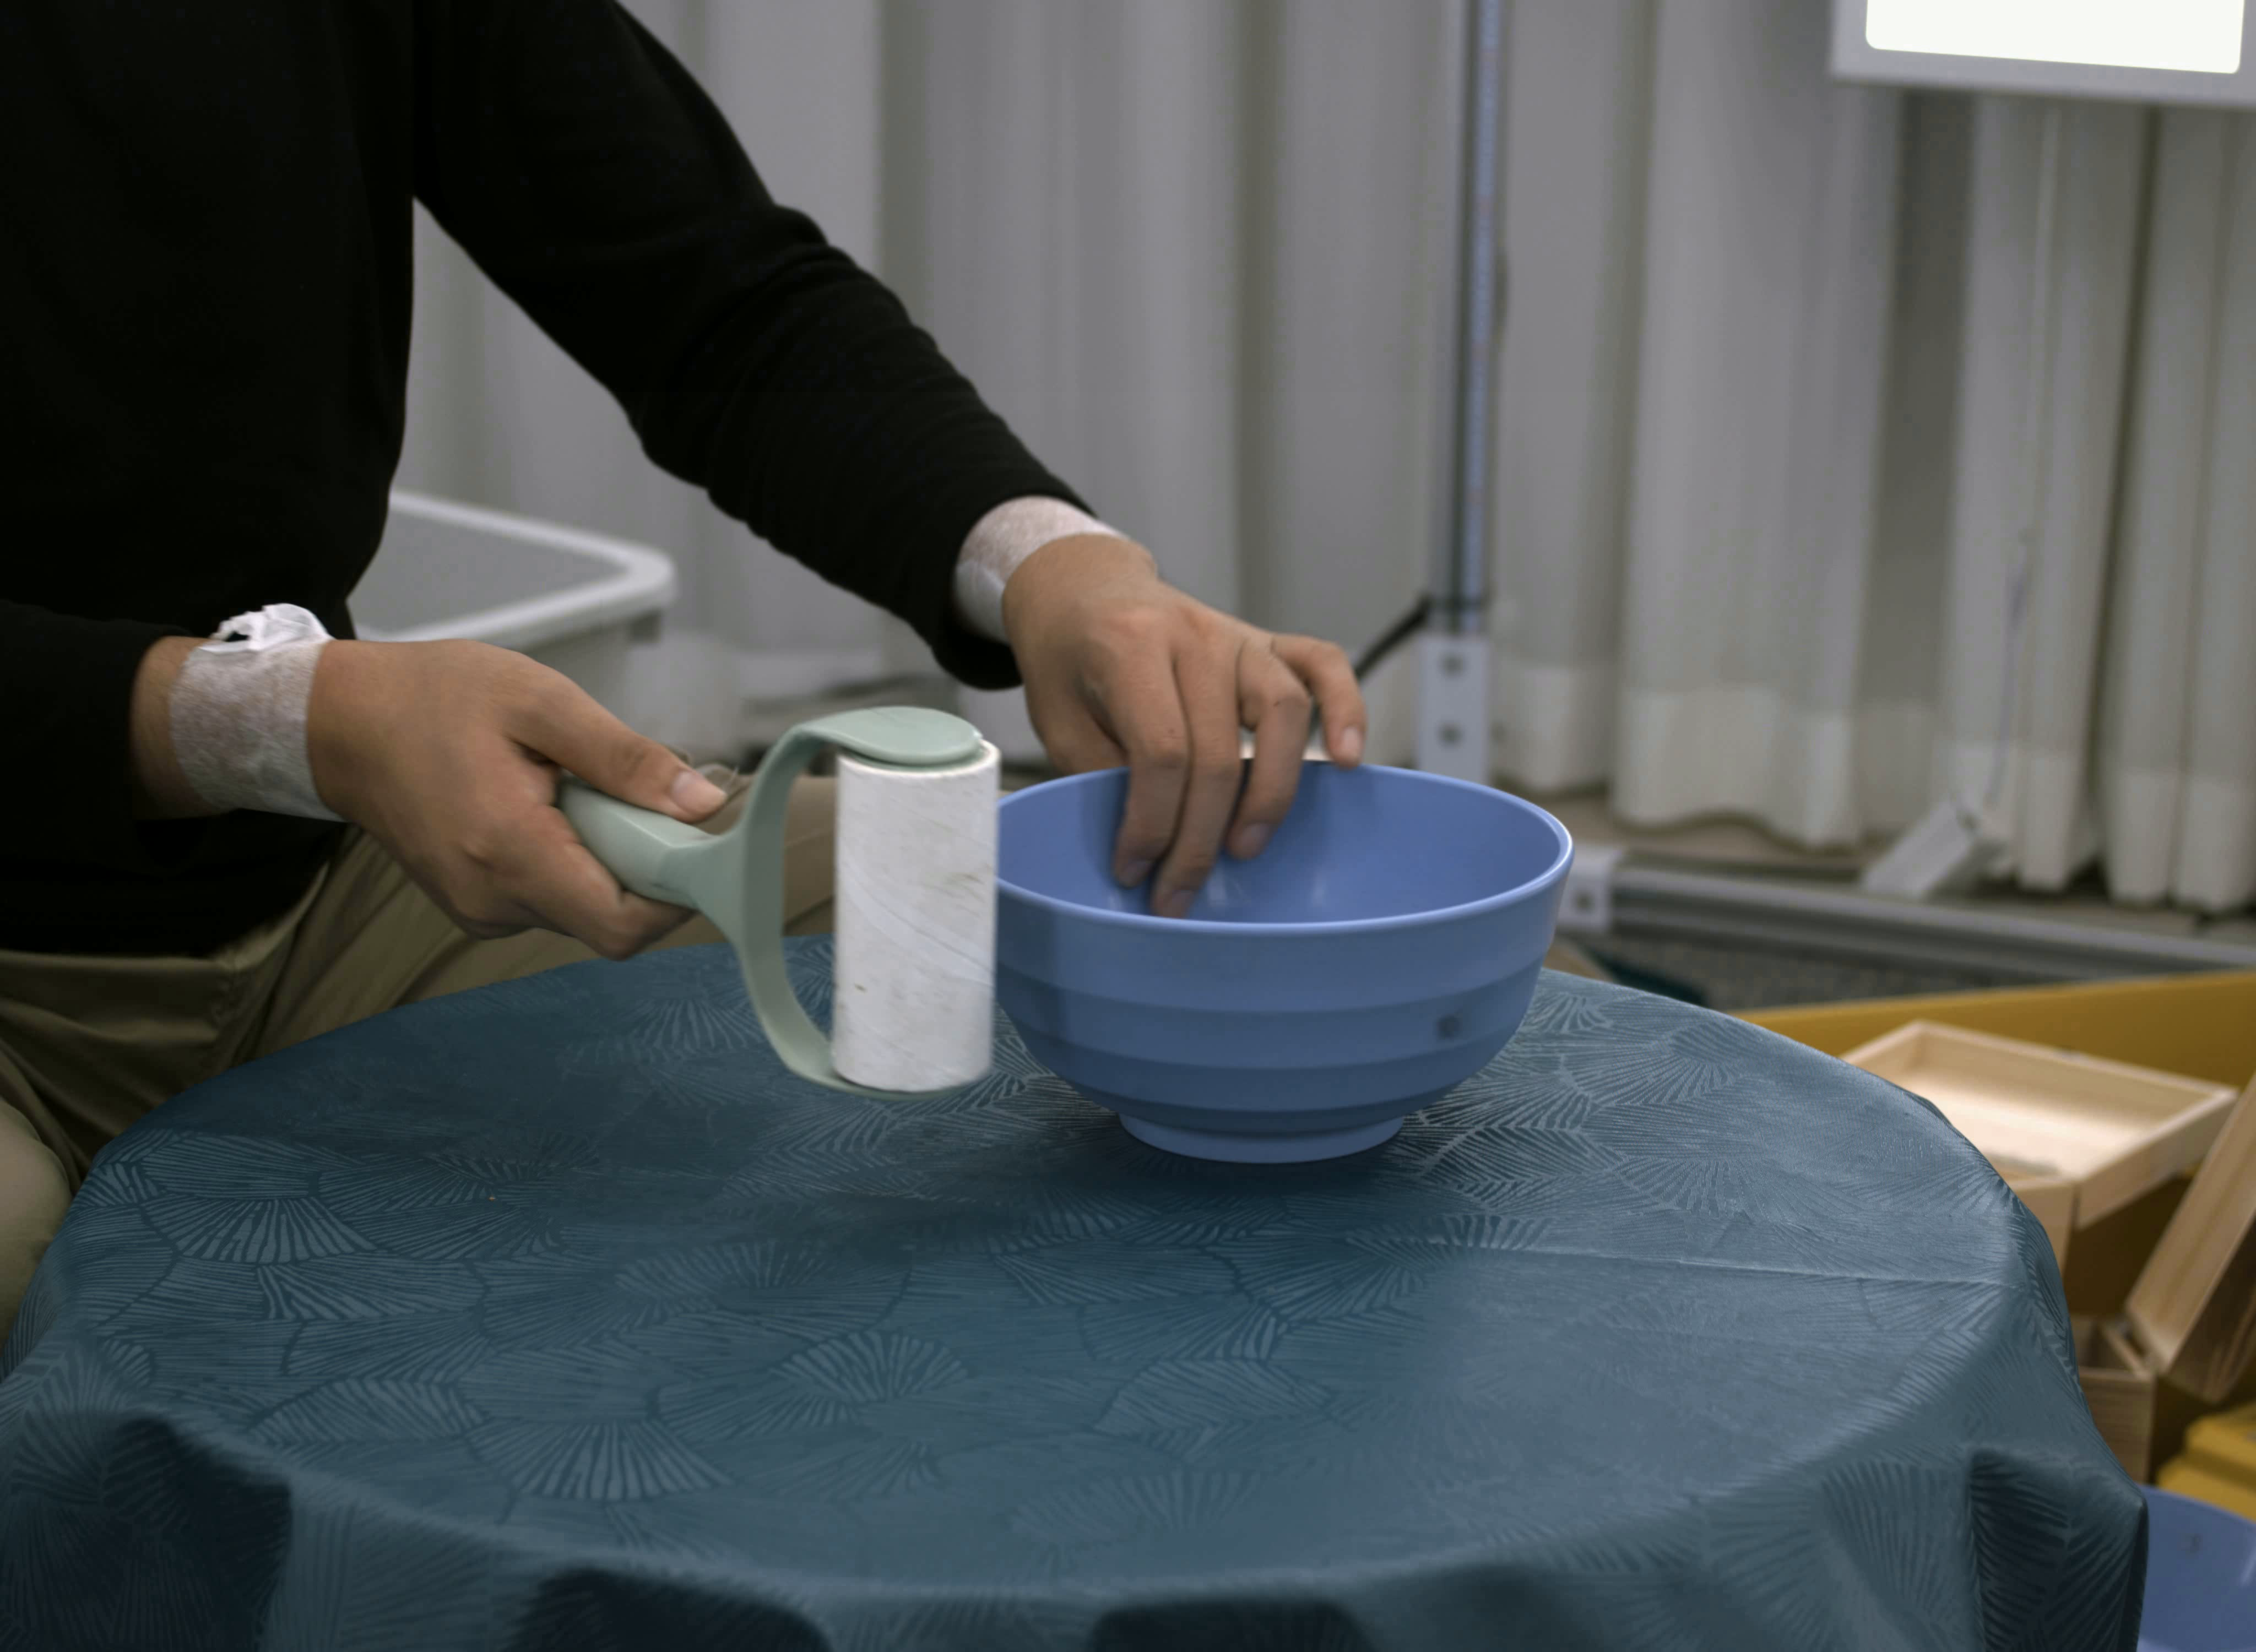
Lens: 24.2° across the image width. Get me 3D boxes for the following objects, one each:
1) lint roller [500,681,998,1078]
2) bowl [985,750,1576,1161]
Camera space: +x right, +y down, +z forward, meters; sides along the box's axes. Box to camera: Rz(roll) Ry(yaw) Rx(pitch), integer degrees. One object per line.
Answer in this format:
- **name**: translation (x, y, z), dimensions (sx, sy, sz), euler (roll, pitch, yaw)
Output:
- **lint roller**: translation (-0.123, 0.003, 1.597), dimensions (0.195, 0.118, 0.048), euler (14, 23, 31)
- **bowl**: translation (0.043, 0.047, 1.674), dimensions (0.196, 0.096, 0.195), euler (0, 17, 0)
